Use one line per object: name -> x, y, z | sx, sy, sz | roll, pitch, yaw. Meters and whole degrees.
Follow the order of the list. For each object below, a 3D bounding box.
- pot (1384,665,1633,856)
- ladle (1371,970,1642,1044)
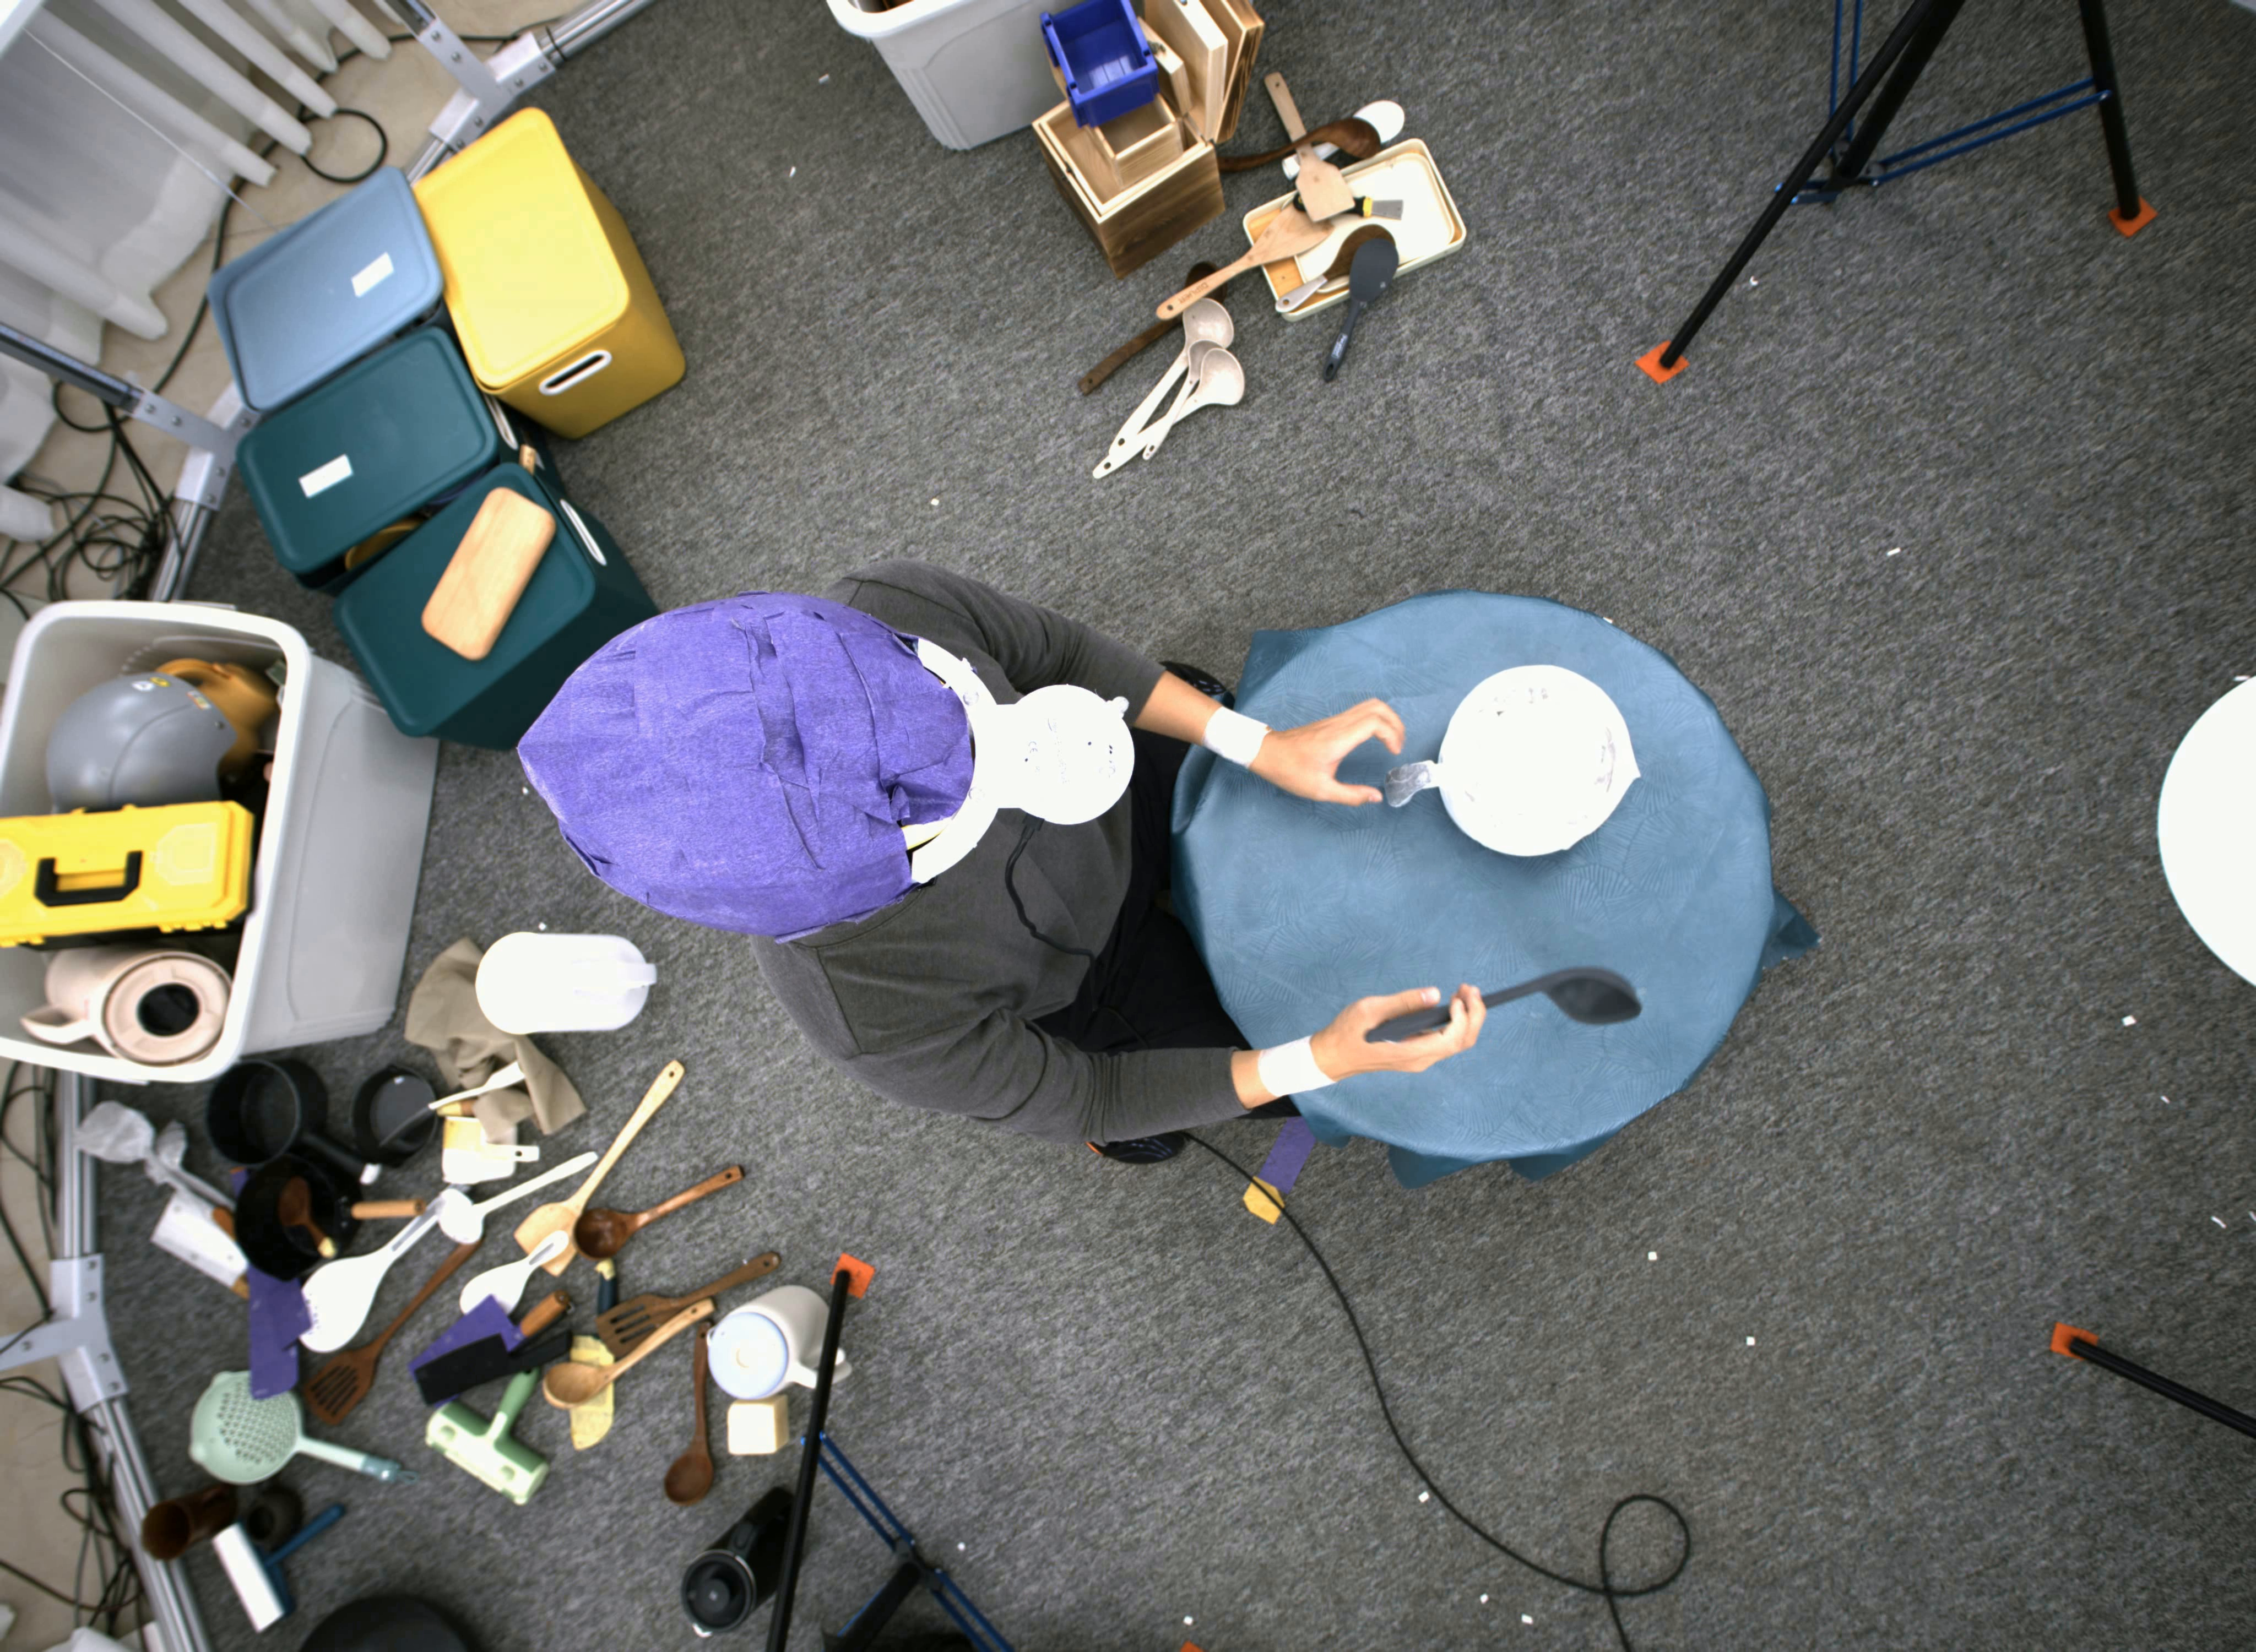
pot -> 0.376, -0.059, 1.378 | 0.235, 0.137, 0.177 | -9, 84, 10
ladle -> 0.338, 0.177, 1.231 | 0.311, 0.088, 0.063 | -9, 78, -34
